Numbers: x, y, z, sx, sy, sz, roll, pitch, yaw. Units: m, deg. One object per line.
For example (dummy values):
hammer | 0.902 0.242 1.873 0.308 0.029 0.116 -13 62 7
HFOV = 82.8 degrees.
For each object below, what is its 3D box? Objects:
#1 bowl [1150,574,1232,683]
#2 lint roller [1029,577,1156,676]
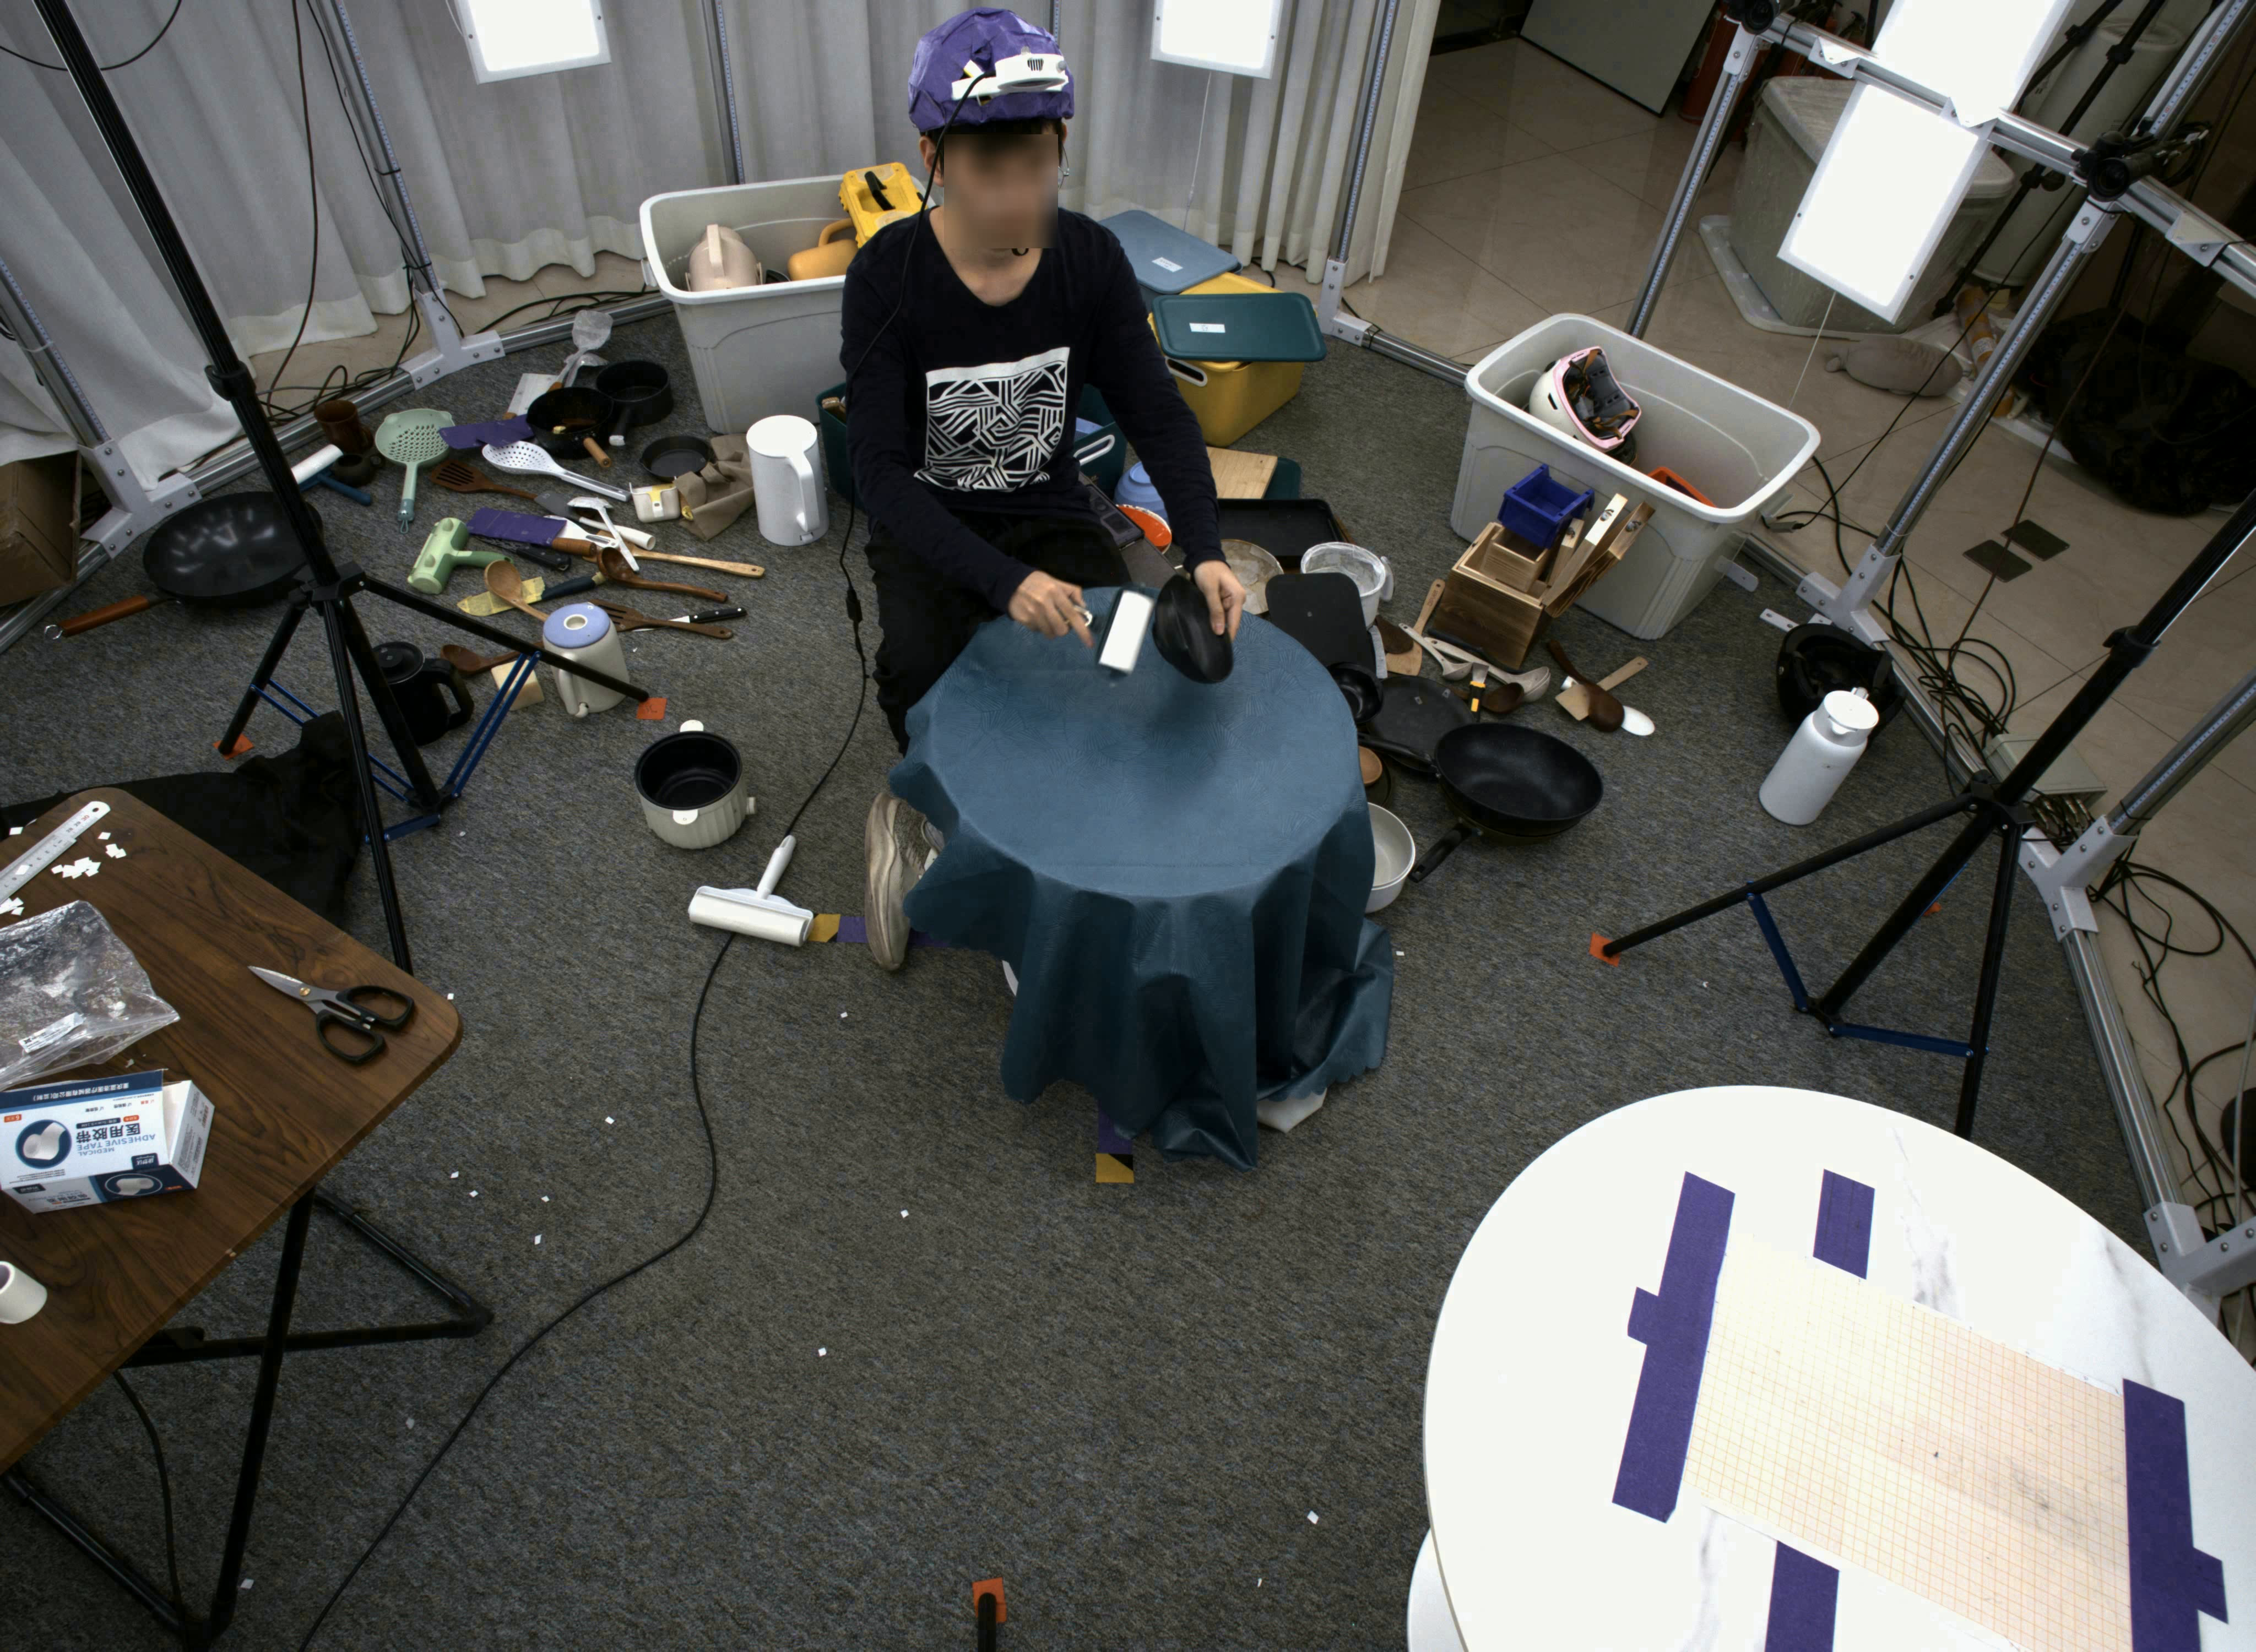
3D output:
bowl | 0.074 -0.261 1.741 0.066 0.135 0.174 -26 57 30
lint roller | -0.059 -0.285 1.737 0.181 0.048 0.134 17 92 17
